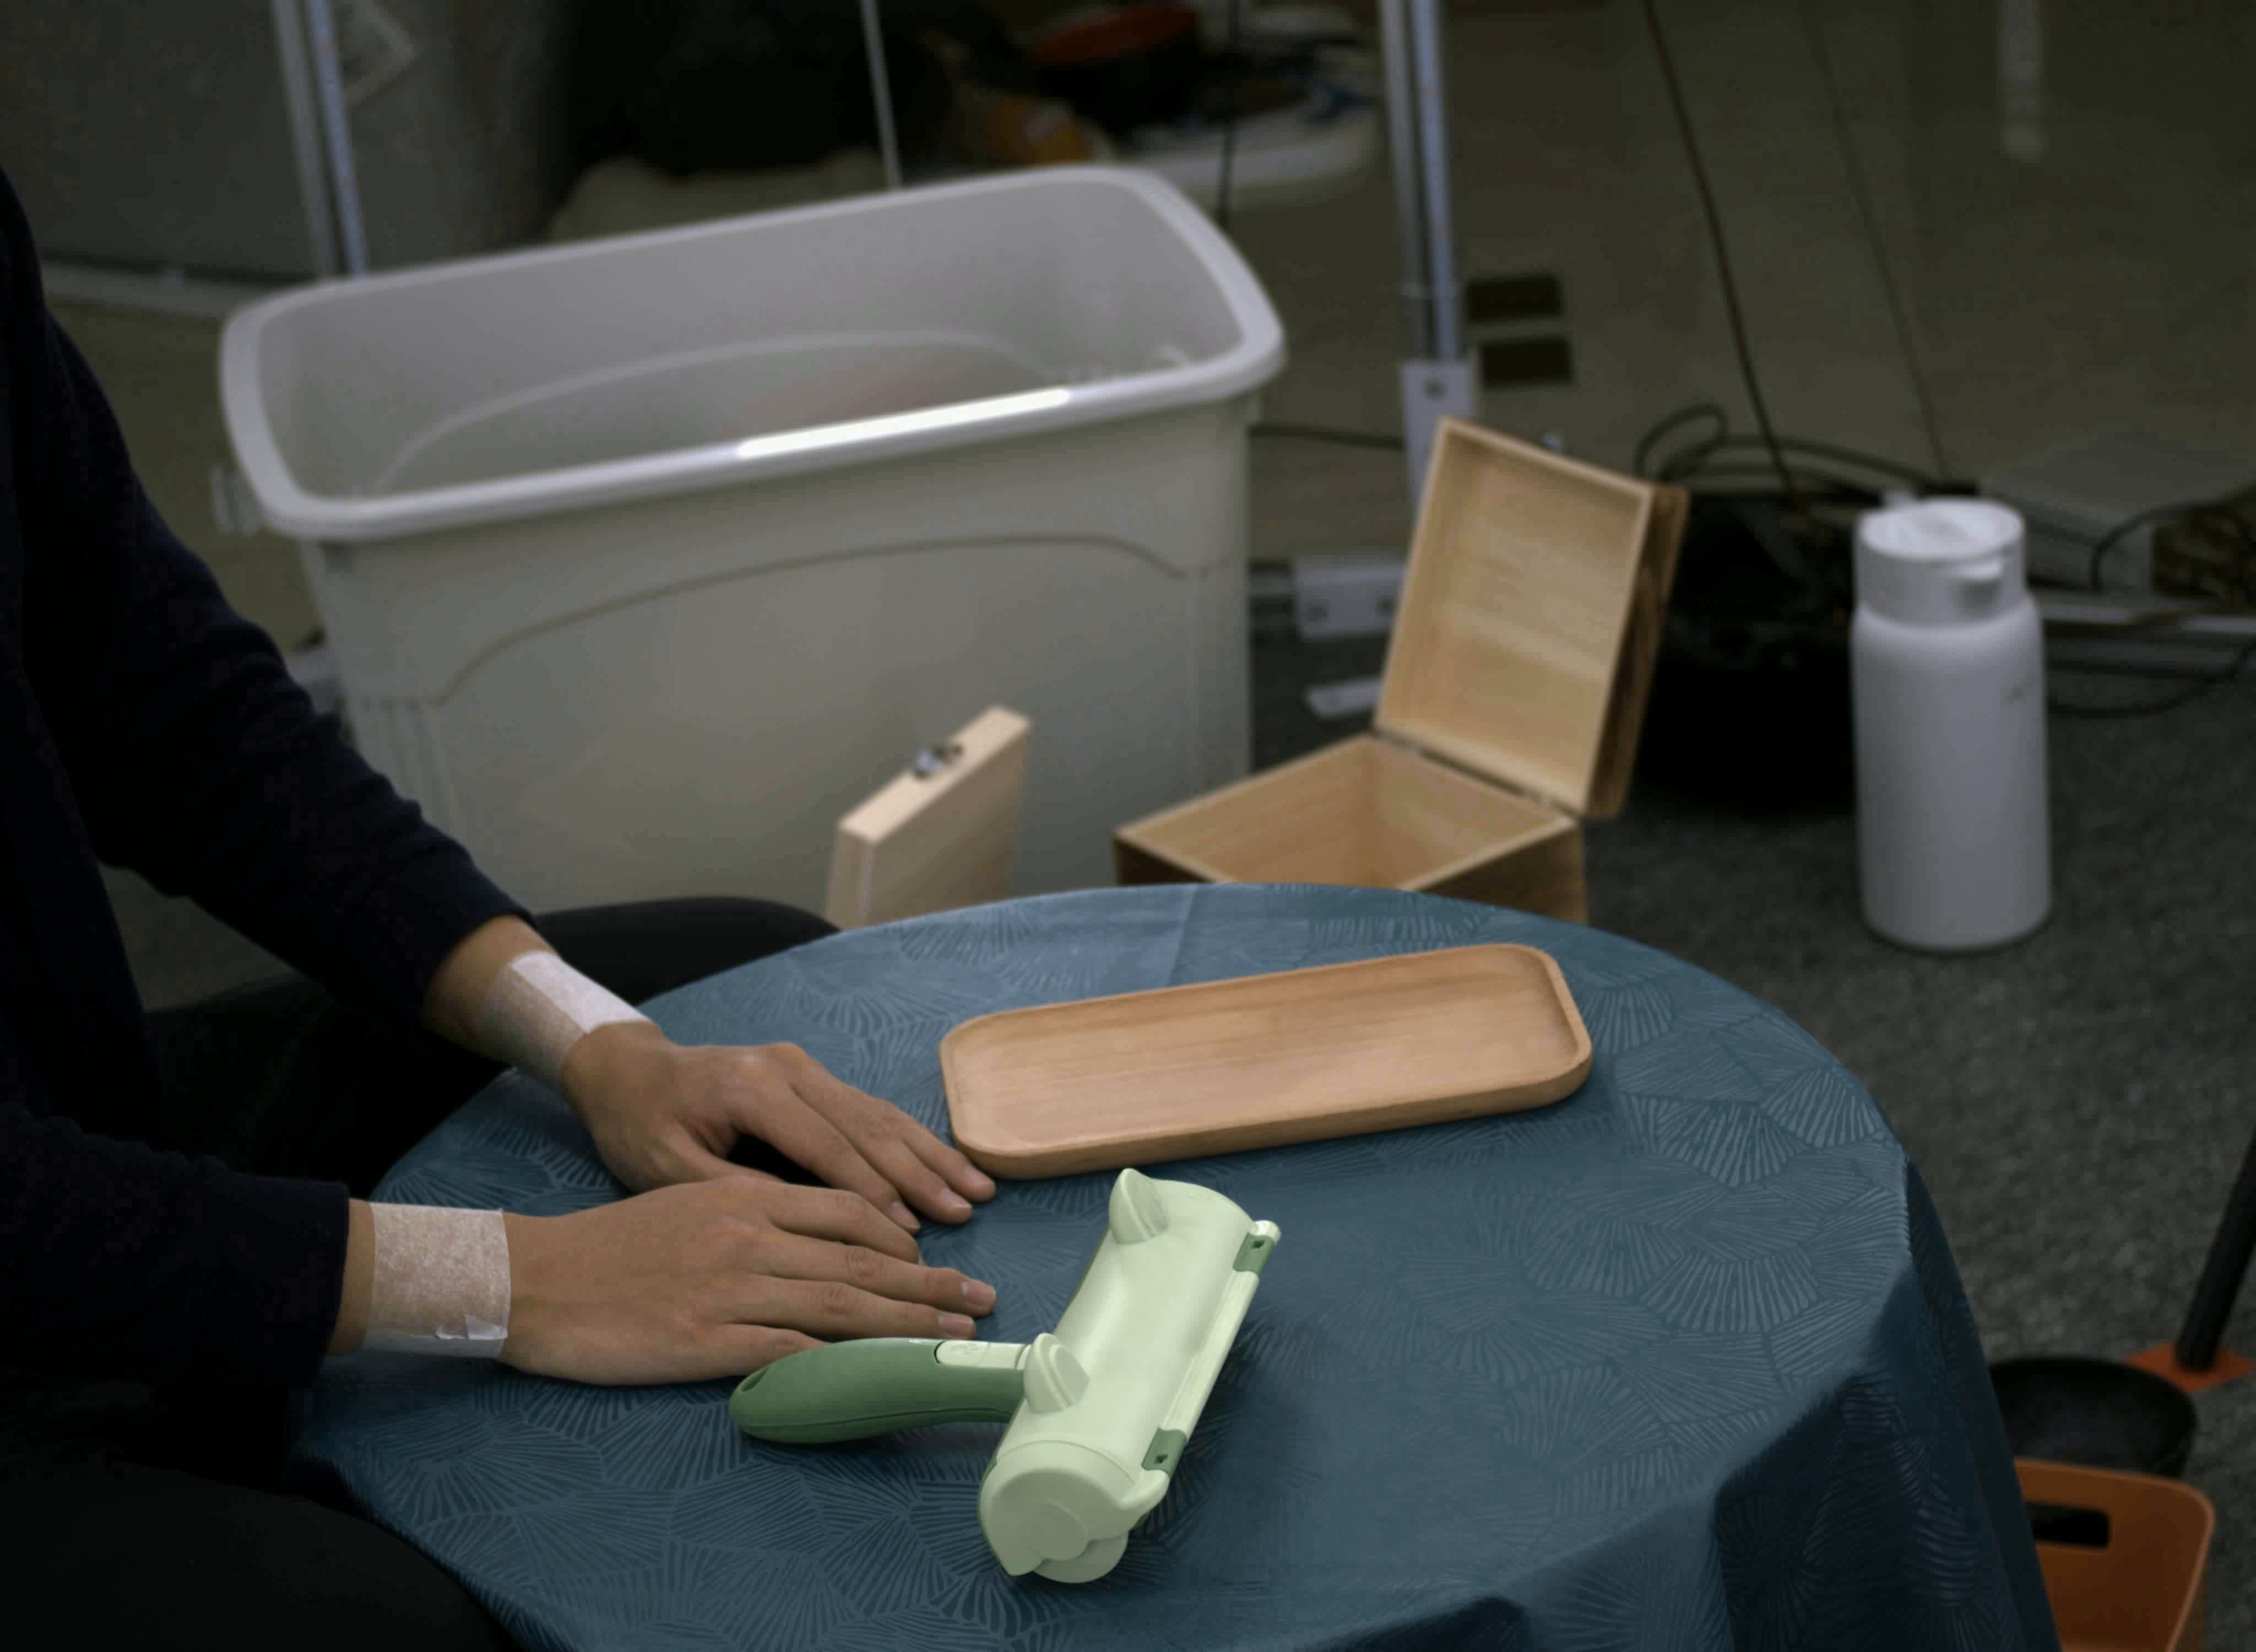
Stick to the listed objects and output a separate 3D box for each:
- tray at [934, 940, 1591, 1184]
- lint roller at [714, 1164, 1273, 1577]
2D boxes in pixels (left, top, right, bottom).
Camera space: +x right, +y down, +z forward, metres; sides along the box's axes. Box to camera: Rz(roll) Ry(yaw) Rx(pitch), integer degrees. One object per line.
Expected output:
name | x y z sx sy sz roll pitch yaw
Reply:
tray | 0.051 0.092 2.215 0.250 0.023 0.129 -9 23 -3
lint roller | -0.057 0.177 1.975 0.183 0.083 0.196 6 27 12
